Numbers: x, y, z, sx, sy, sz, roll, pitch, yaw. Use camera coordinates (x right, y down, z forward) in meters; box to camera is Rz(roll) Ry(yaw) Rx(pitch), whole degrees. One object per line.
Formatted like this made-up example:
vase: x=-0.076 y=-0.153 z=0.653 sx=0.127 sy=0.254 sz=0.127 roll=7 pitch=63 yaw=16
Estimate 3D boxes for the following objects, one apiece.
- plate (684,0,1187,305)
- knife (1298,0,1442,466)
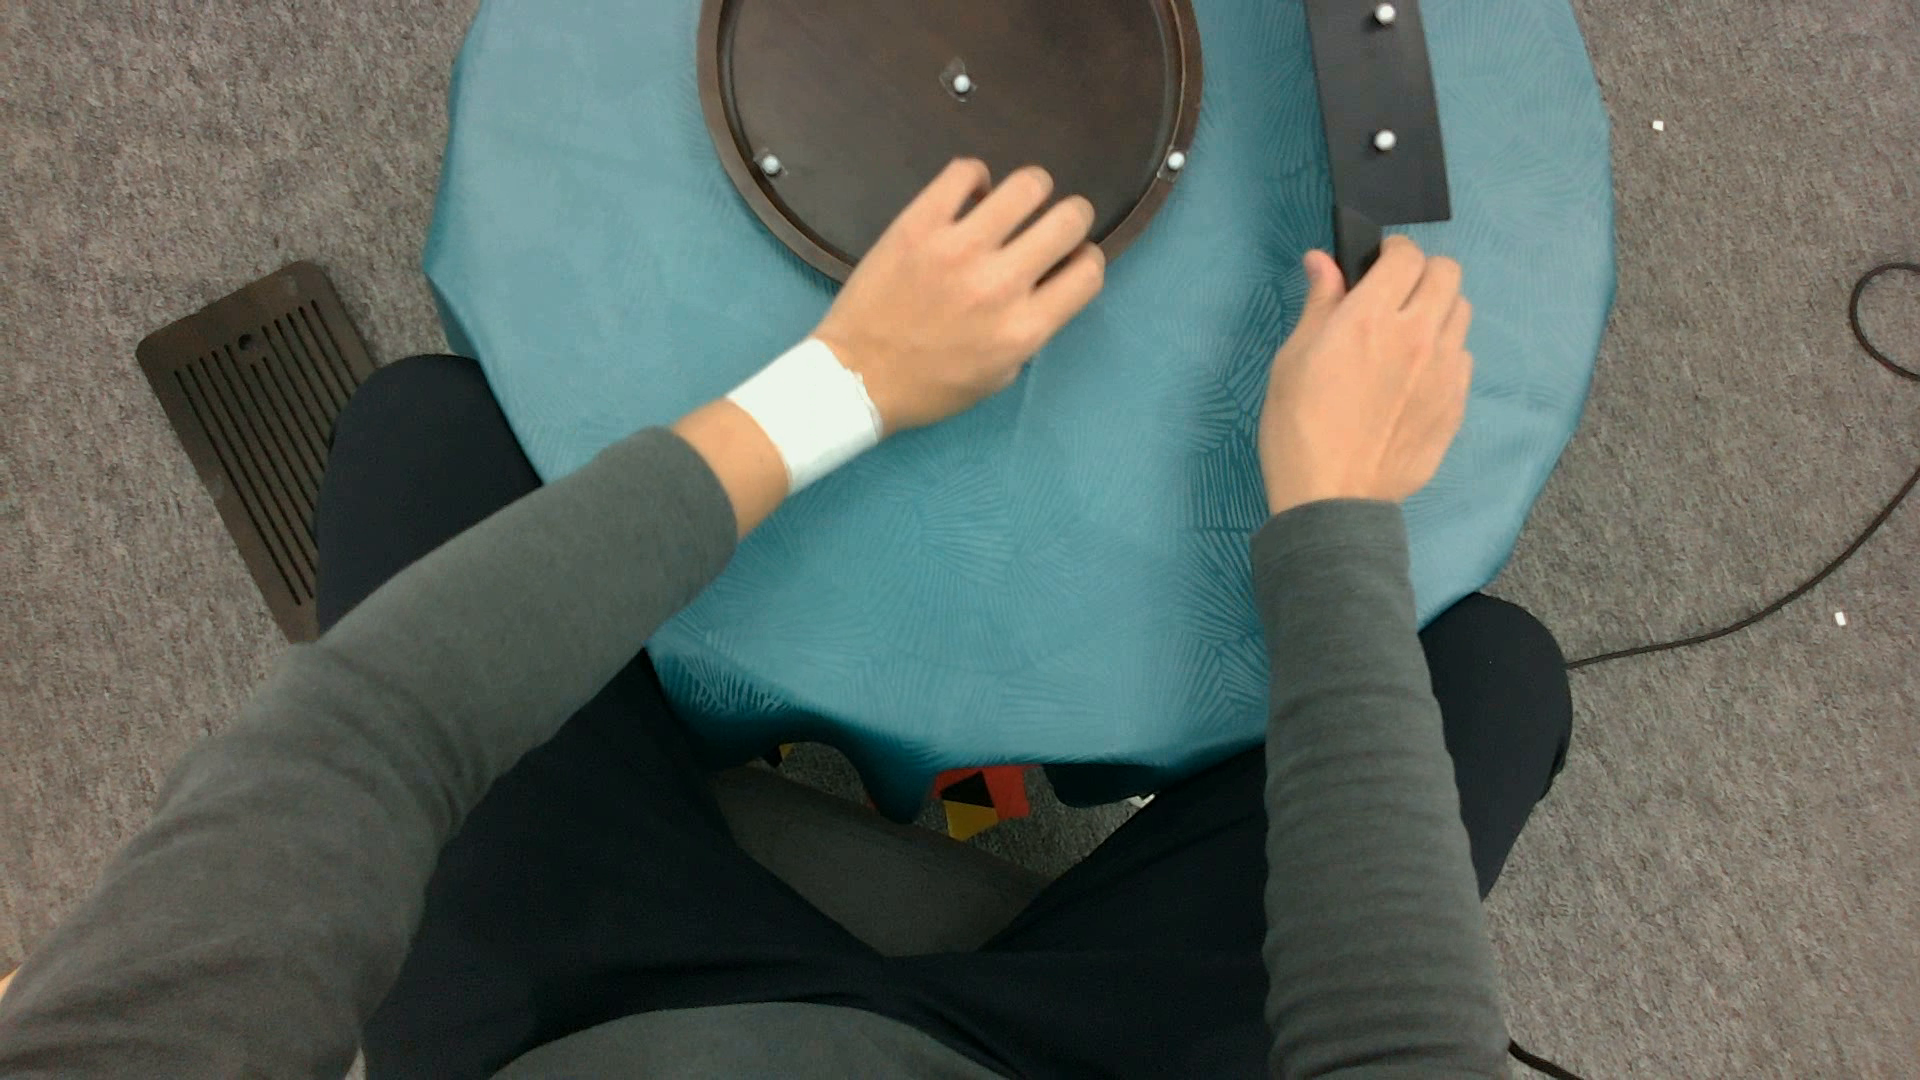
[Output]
plate: x=-0.011 y=-0.241 z=0.697 sx=0.255 sy=0.029 sz=0.255 roll=1 pitch=83 yaw=-7
knife: x=0.203 y=-0.187 z=0.681 sx=0.081 sy=0.021 sz=0.302 roll=-1 pitch=84 yaw=-15
